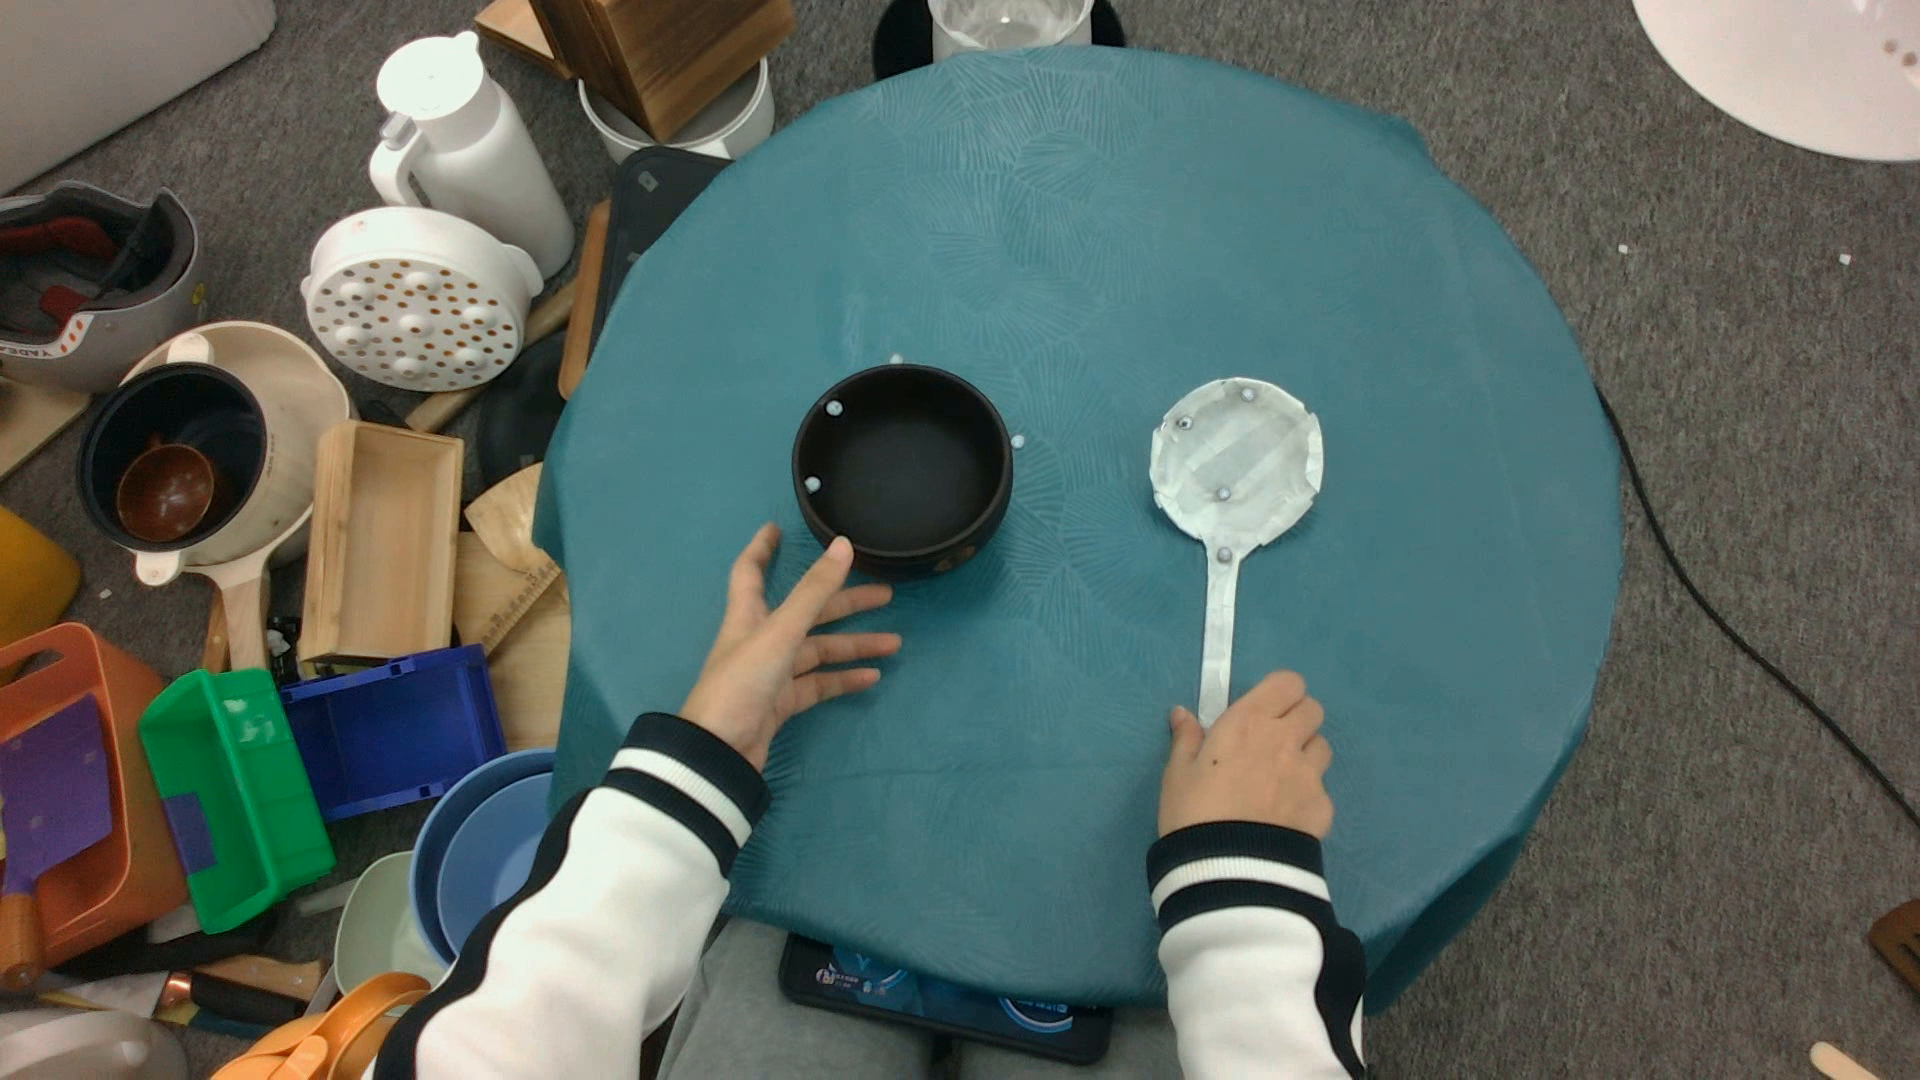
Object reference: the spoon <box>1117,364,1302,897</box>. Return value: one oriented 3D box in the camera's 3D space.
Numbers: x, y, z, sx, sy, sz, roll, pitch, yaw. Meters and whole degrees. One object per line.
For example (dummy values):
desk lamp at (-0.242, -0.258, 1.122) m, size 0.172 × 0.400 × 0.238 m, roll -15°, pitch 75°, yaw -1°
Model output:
spoon at (0.119, 0.041, 0.716) m, size 0.100 × 0.059 × 0.278 m, roll 8°, pitch 67°, yaw 6°

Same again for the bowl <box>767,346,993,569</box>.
bowl at (-0.041, -0.038, 0.741) m, size 0.118 × 0.069 × 0.118 m, roll 0°, pitch 68°, yaw 0°
